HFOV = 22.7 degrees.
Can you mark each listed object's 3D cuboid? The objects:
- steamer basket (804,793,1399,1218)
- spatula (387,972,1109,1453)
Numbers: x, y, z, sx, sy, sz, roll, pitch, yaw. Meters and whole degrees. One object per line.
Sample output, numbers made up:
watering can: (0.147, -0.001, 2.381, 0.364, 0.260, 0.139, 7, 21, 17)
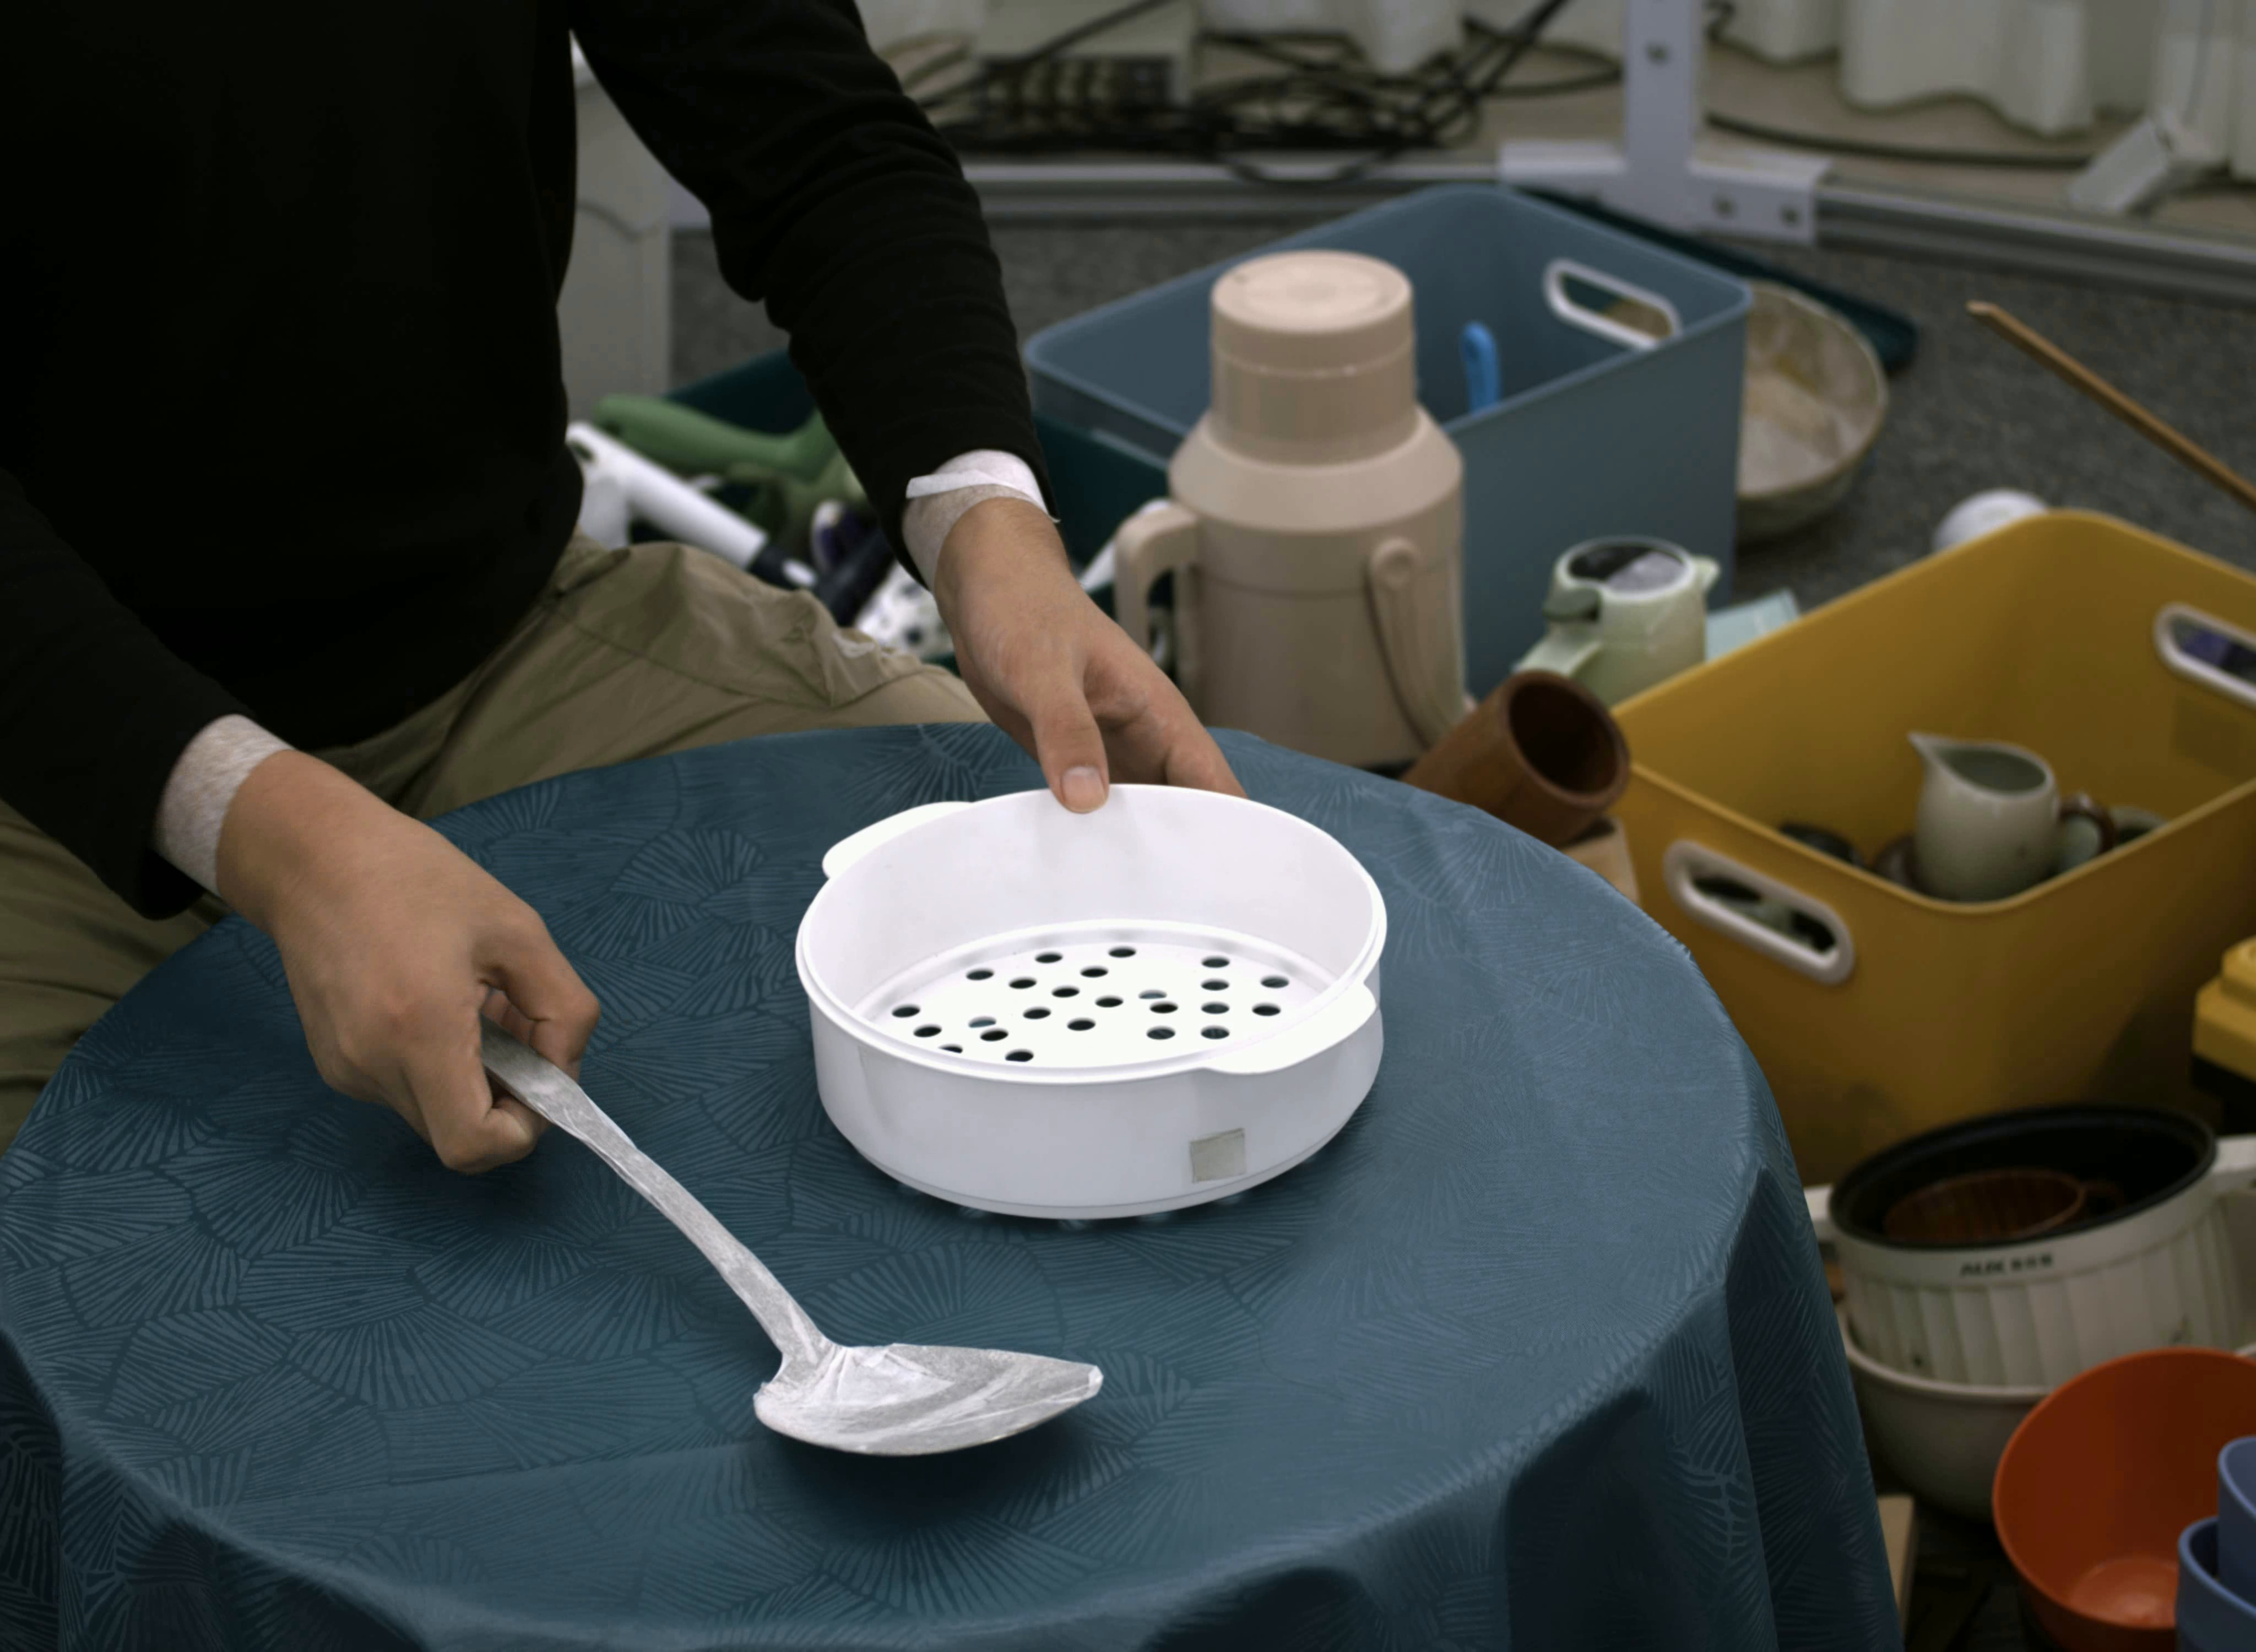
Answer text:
steamer basket: (-0.008, 0.061, 1.904, 0.204, 0.068, 0.230, -24, 33, -36)
spatula: (-0.146, 0.117, 1.815, 0.099, 0.044, 0.366, -15, 36, -35)
